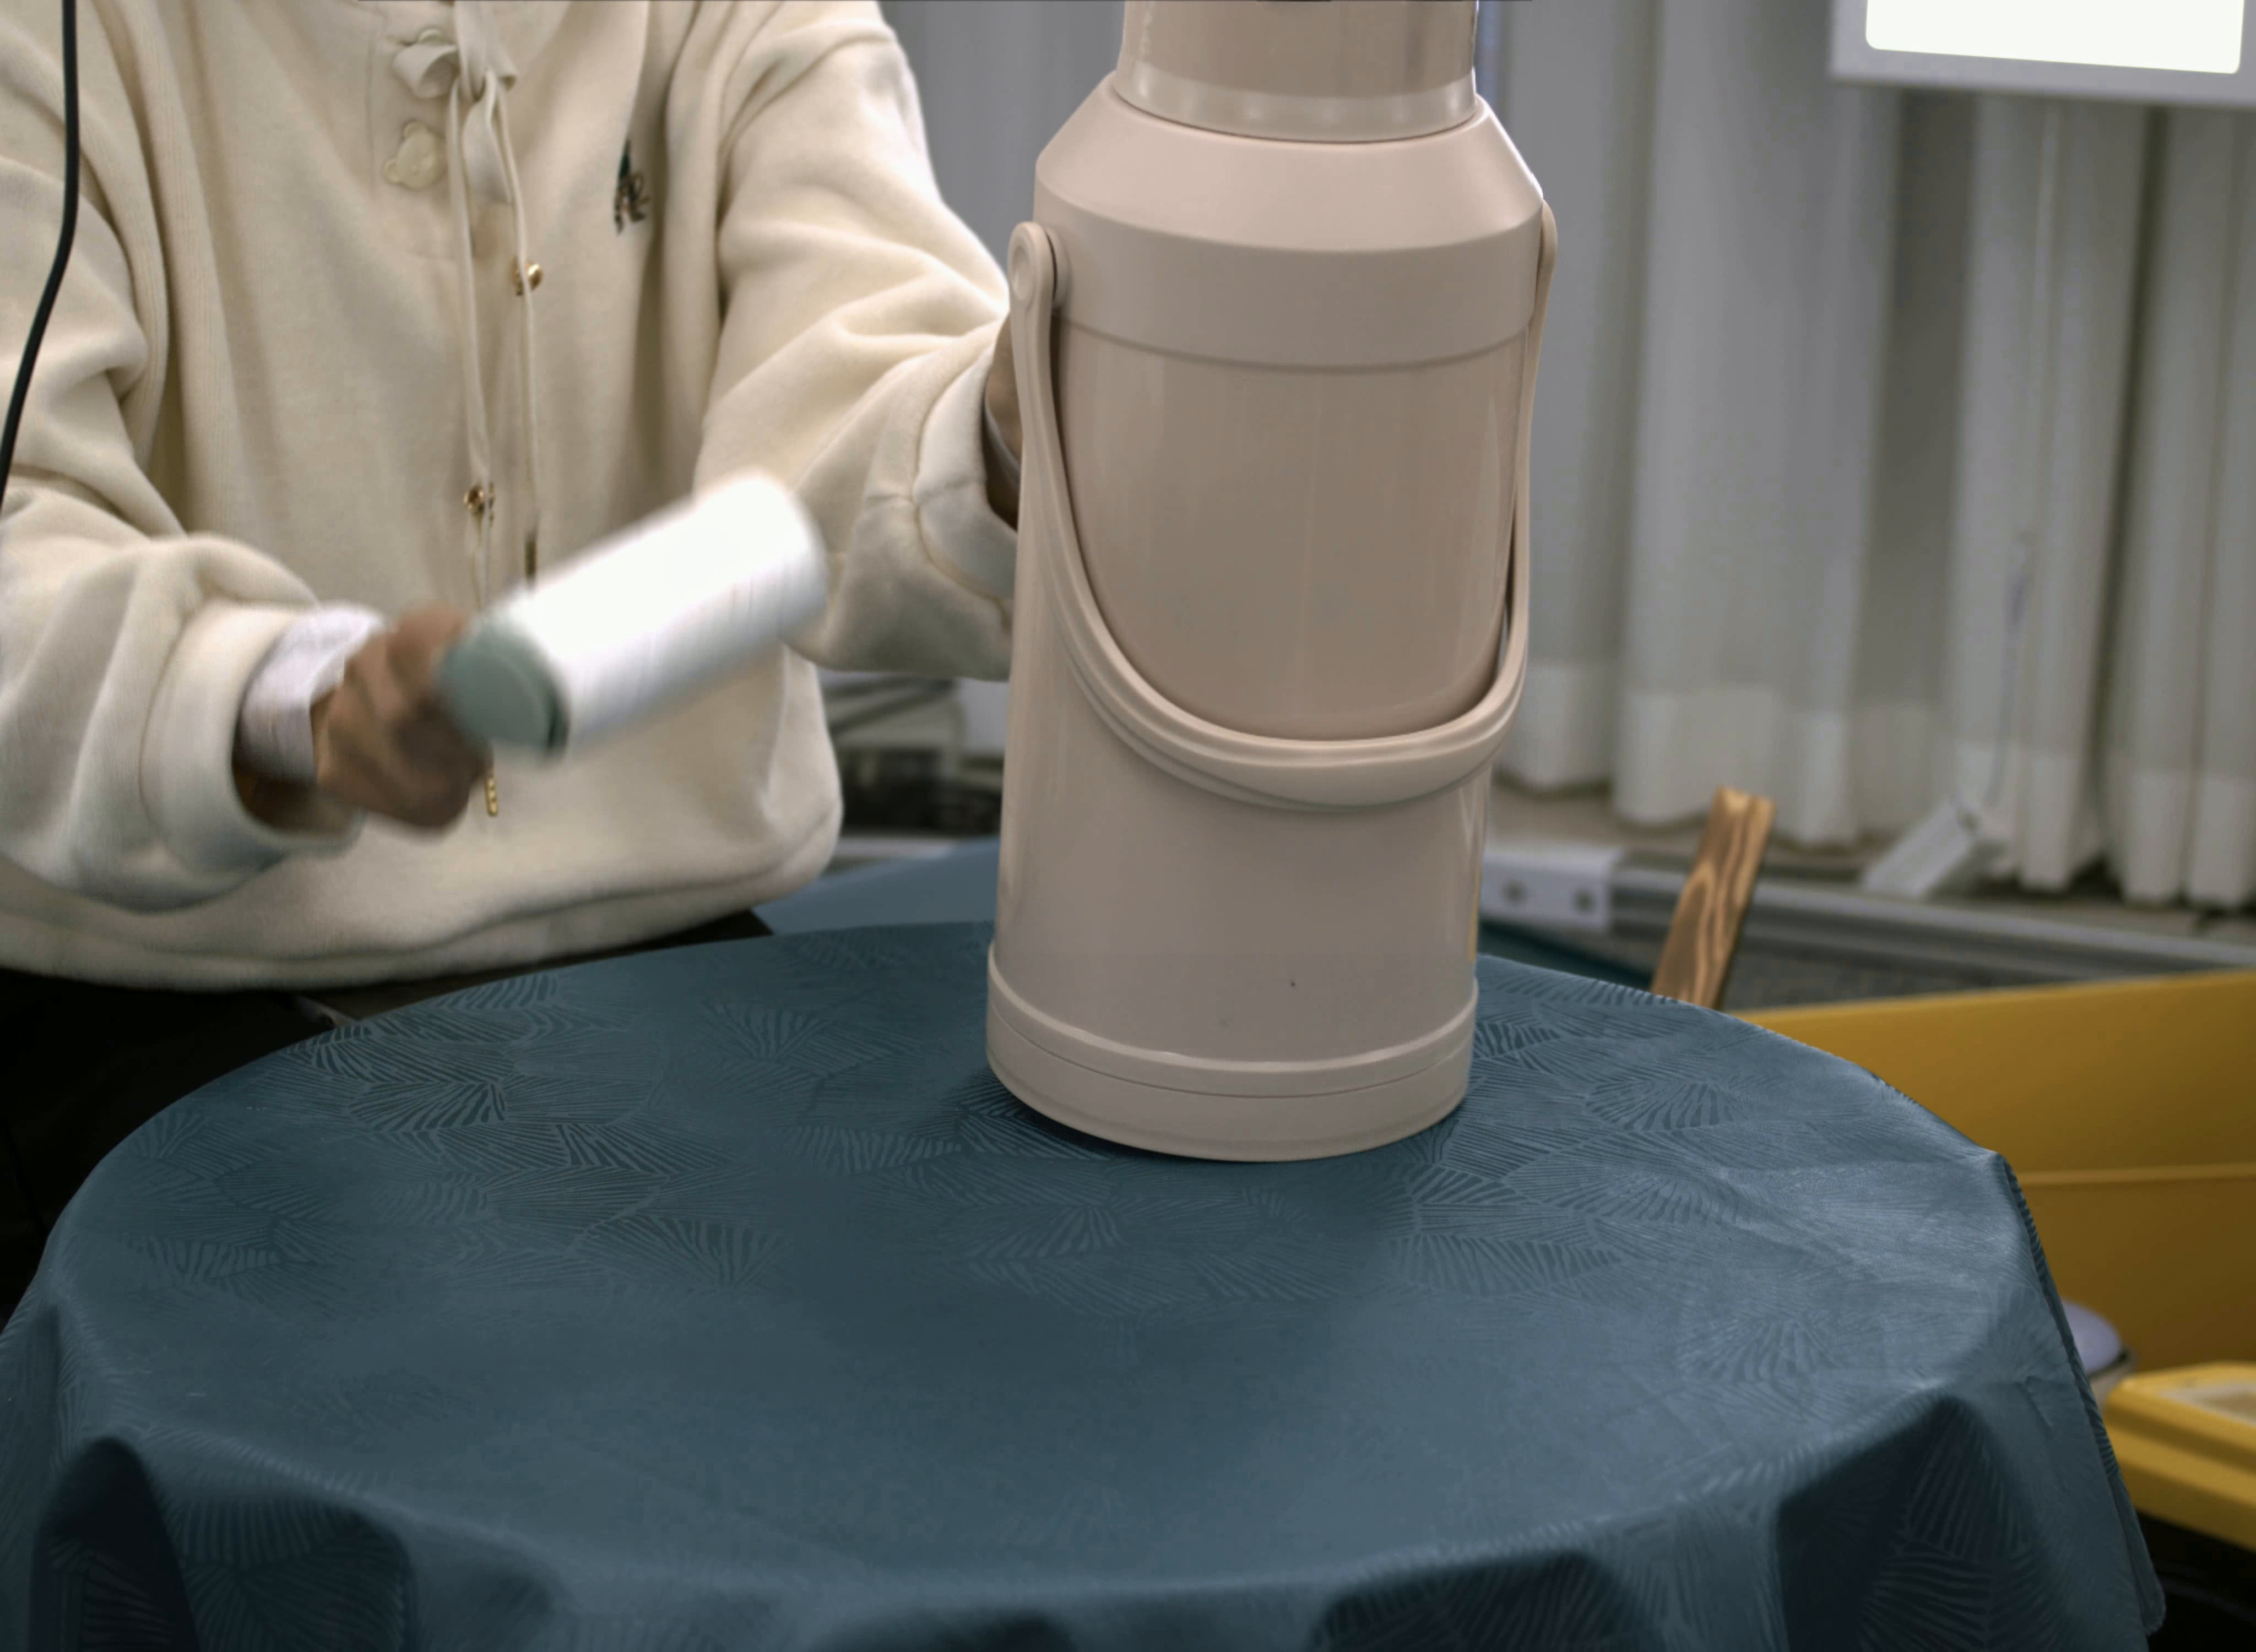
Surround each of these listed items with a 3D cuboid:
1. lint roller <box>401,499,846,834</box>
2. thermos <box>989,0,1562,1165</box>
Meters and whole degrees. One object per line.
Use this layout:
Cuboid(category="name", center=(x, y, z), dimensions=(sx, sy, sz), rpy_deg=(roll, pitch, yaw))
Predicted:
Cuboid(category="lint roller", center=(-0.173, -0.040, 1.576), dimensions=(0.117, 0.049, 0.196), rpy_deg=(-33, 9, -34))
Cuboid(category="thermos", center=(0.041, -0.112, 1.655), dimensions=(0.176, 0.410, 0.204), rpy_deg=(-6, 23, -22))
